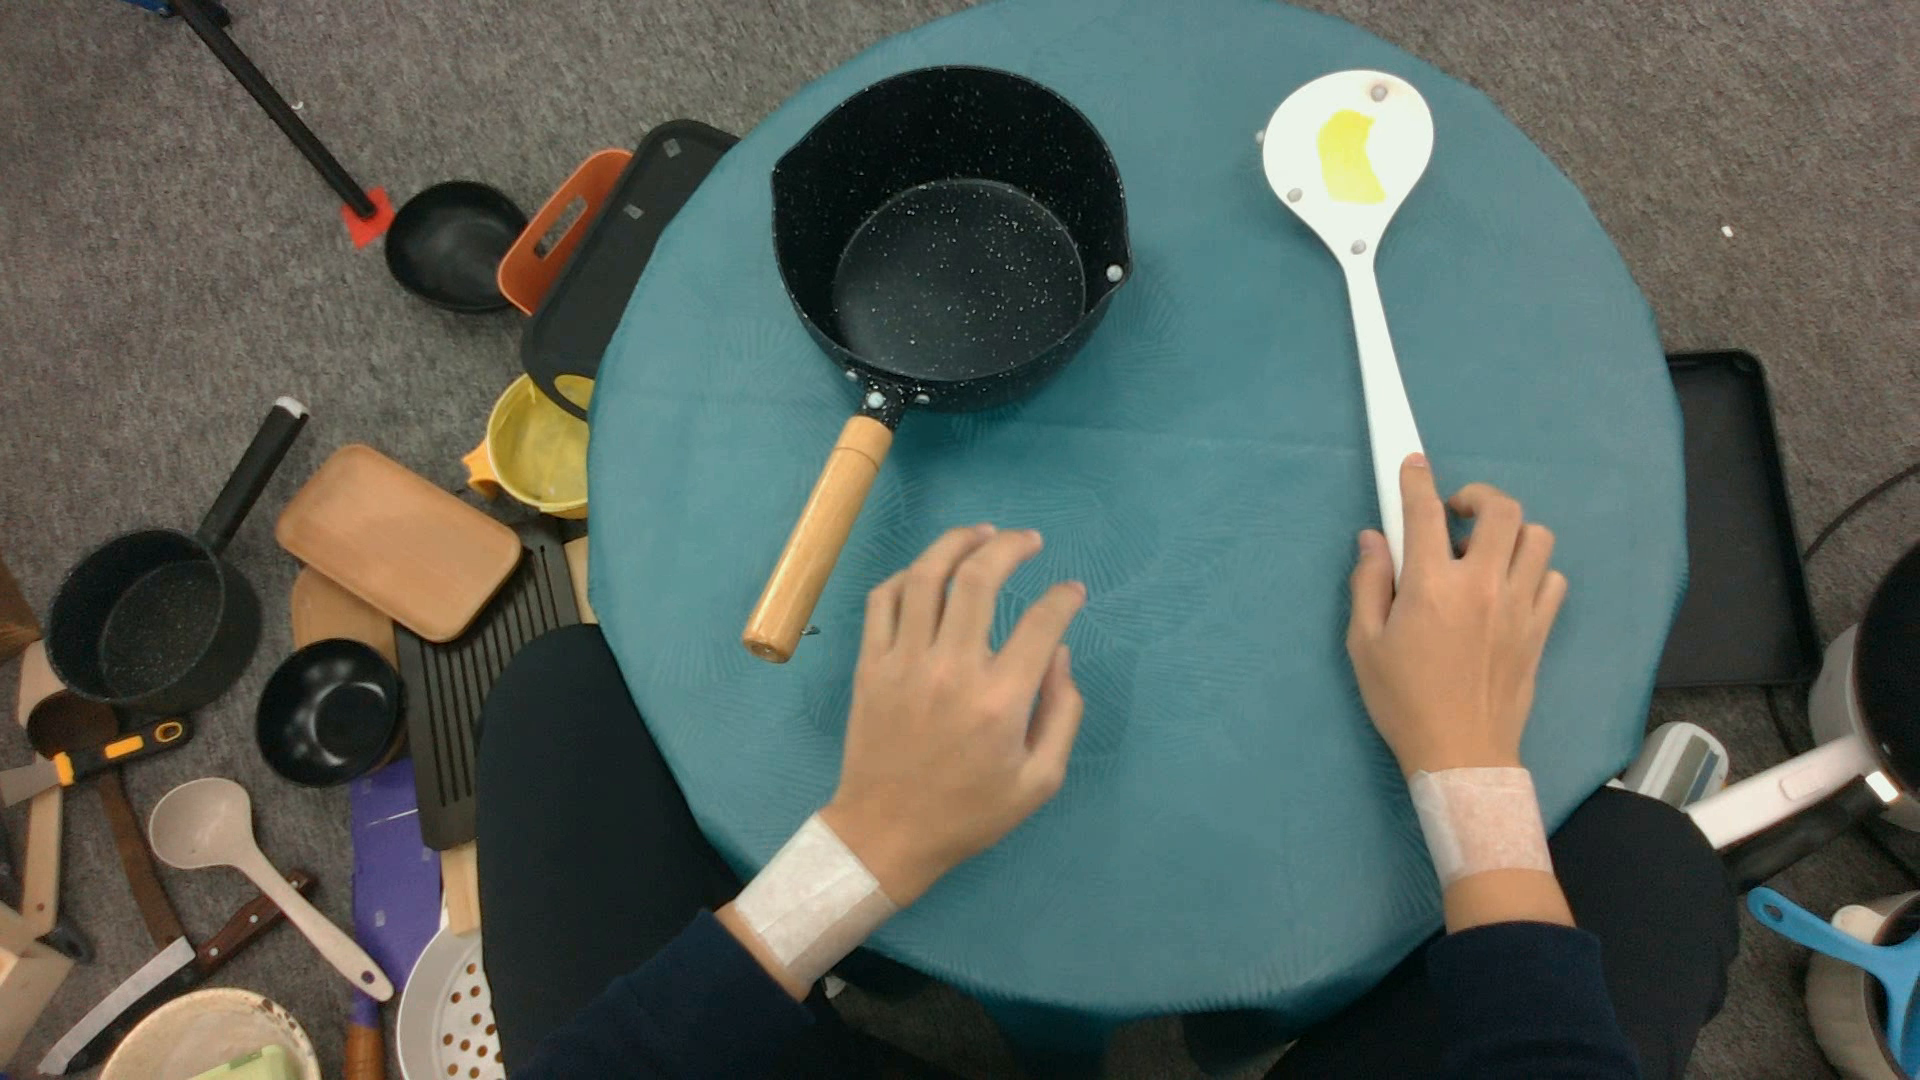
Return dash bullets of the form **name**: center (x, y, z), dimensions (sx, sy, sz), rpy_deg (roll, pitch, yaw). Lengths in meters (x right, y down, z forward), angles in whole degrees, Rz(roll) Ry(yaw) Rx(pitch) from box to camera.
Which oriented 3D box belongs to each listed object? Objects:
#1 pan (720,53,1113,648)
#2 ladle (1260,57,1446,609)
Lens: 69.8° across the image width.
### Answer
- **pan**: center (-0.040, -0.092, 0.720), dimensions (0.207, 0.108, 0.344), rpy_deg (16, 73, 7)
- **ladle**: center (0.220, -0.112, 0.734), dimensions (0.090, 0.070, 0.293), rpy_deg (-6, 73, 1)
